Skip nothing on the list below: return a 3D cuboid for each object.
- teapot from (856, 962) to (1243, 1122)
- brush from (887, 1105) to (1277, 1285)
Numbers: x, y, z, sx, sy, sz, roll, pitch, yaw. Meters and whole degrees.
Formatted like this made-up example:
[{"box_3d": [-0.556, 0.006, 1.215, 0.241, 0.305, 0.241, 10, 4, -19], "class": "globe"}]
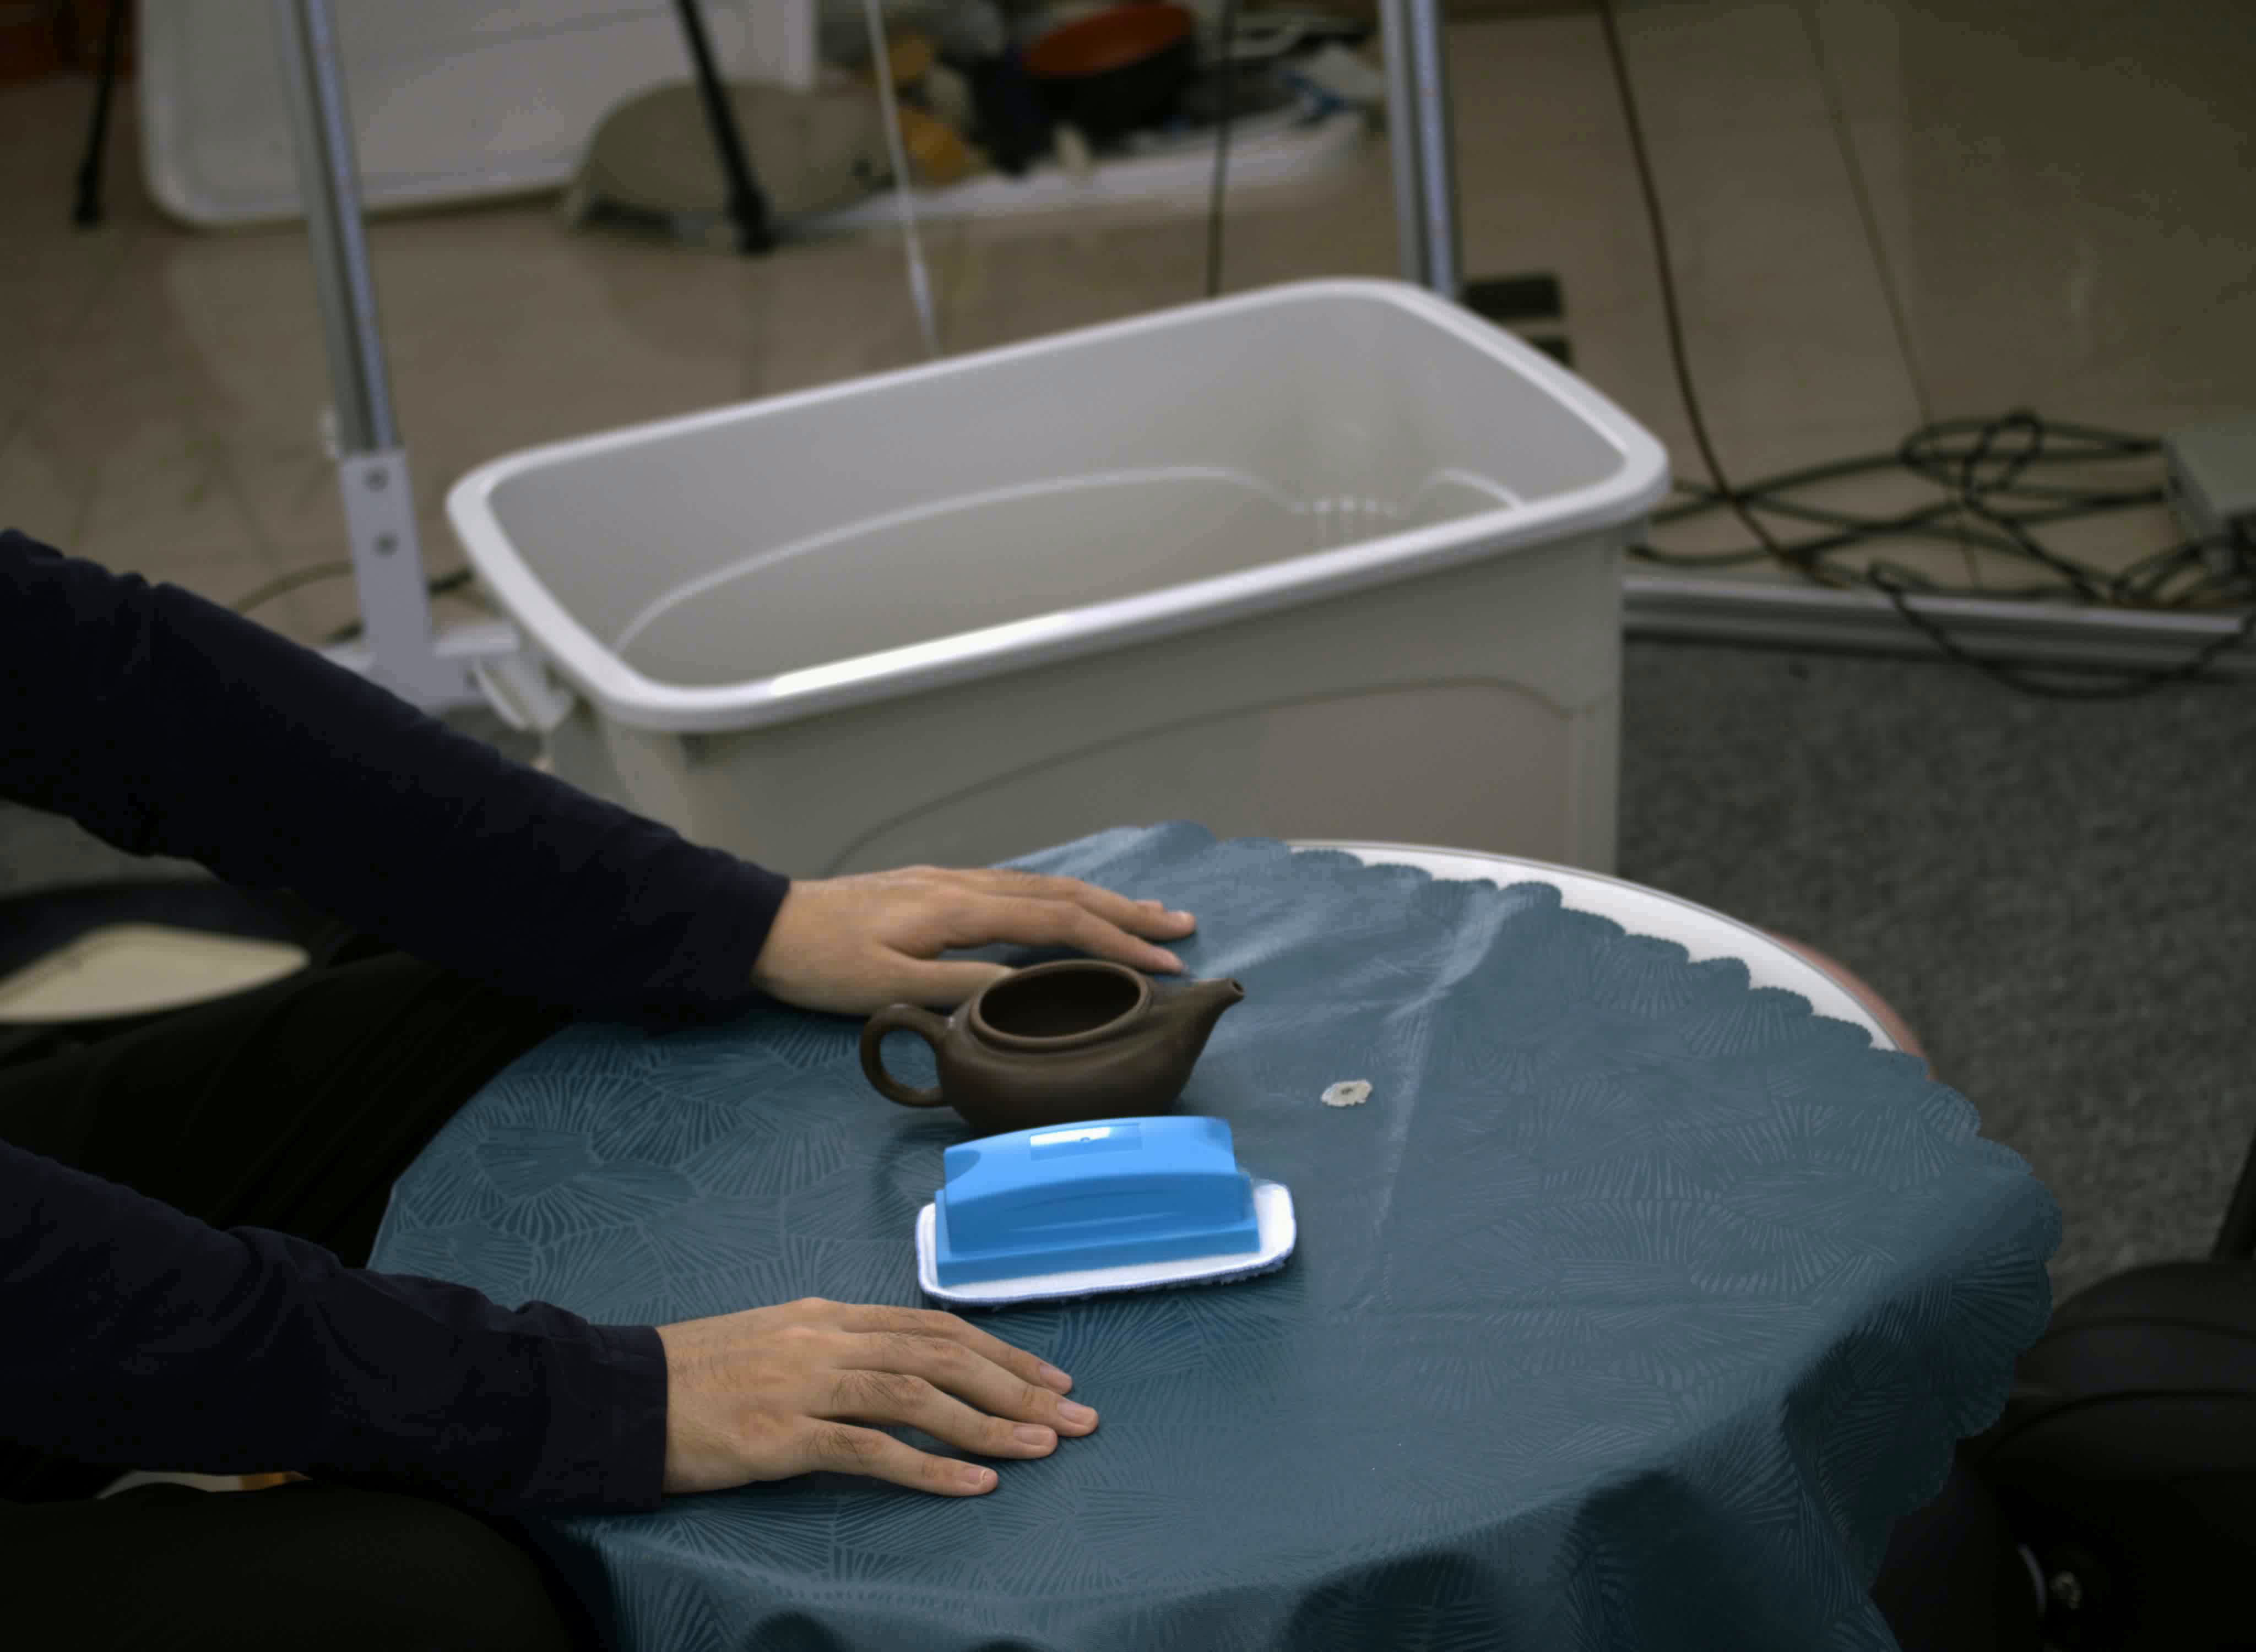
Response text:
[{"box_3d": [-0.029, 0.087, 2.203, 0.153, 0.054, 0.101, -5, 23, 2], "class": "teapot"}, {"box_3d": [-0.018, 0.133, 2.092, 0.144, 0.057, 0.083, -3, 22, 2], "class": "brush"}]
